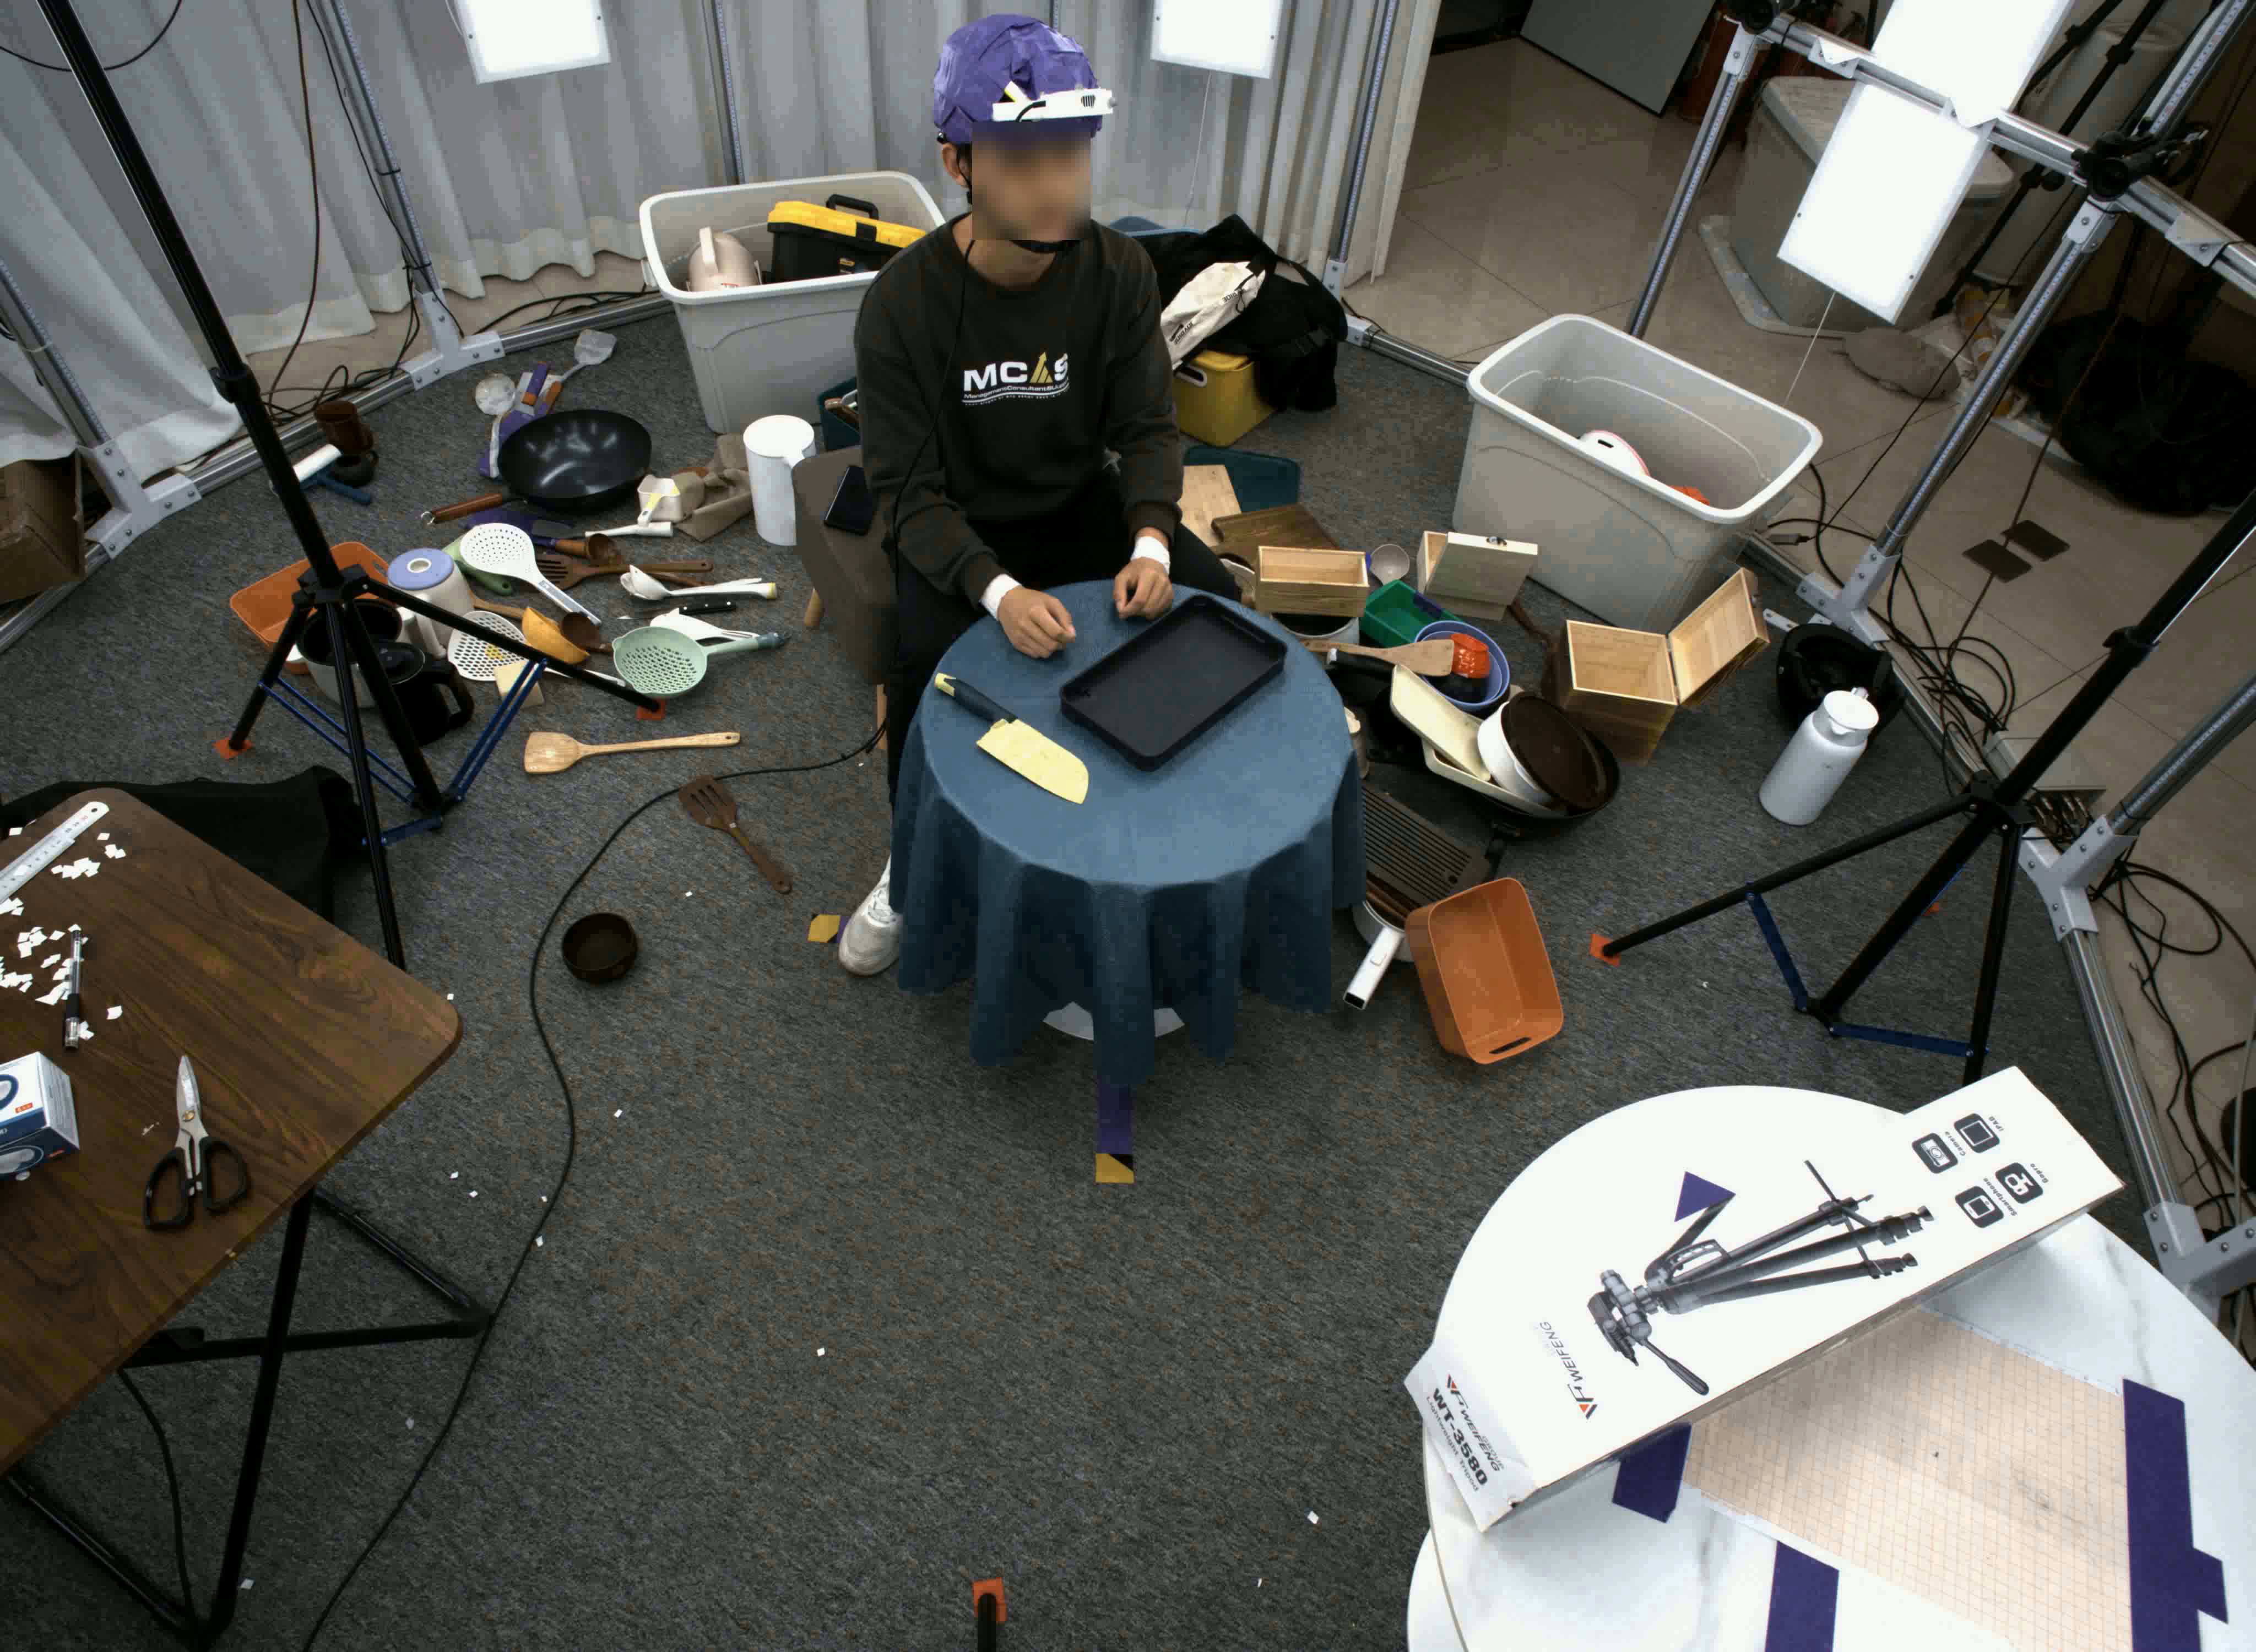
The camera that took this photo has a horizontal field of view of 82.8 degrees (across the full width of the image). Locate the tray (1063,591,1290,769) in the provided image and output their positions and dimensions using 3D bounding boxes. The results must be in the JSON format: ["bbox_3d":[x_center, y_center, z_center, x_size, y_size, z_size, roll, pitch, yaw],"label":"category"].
[{"bbox_3d":[0.072,-0.215,1.835,0.187,0.036,0.321,34,55,24],"label":"tray"}]

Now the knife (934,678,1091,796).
[{"bbox_3d":[-0.164,-0.121,1.751,0.293,0.026,0.082,35,54,23],"label":"knife"}]
